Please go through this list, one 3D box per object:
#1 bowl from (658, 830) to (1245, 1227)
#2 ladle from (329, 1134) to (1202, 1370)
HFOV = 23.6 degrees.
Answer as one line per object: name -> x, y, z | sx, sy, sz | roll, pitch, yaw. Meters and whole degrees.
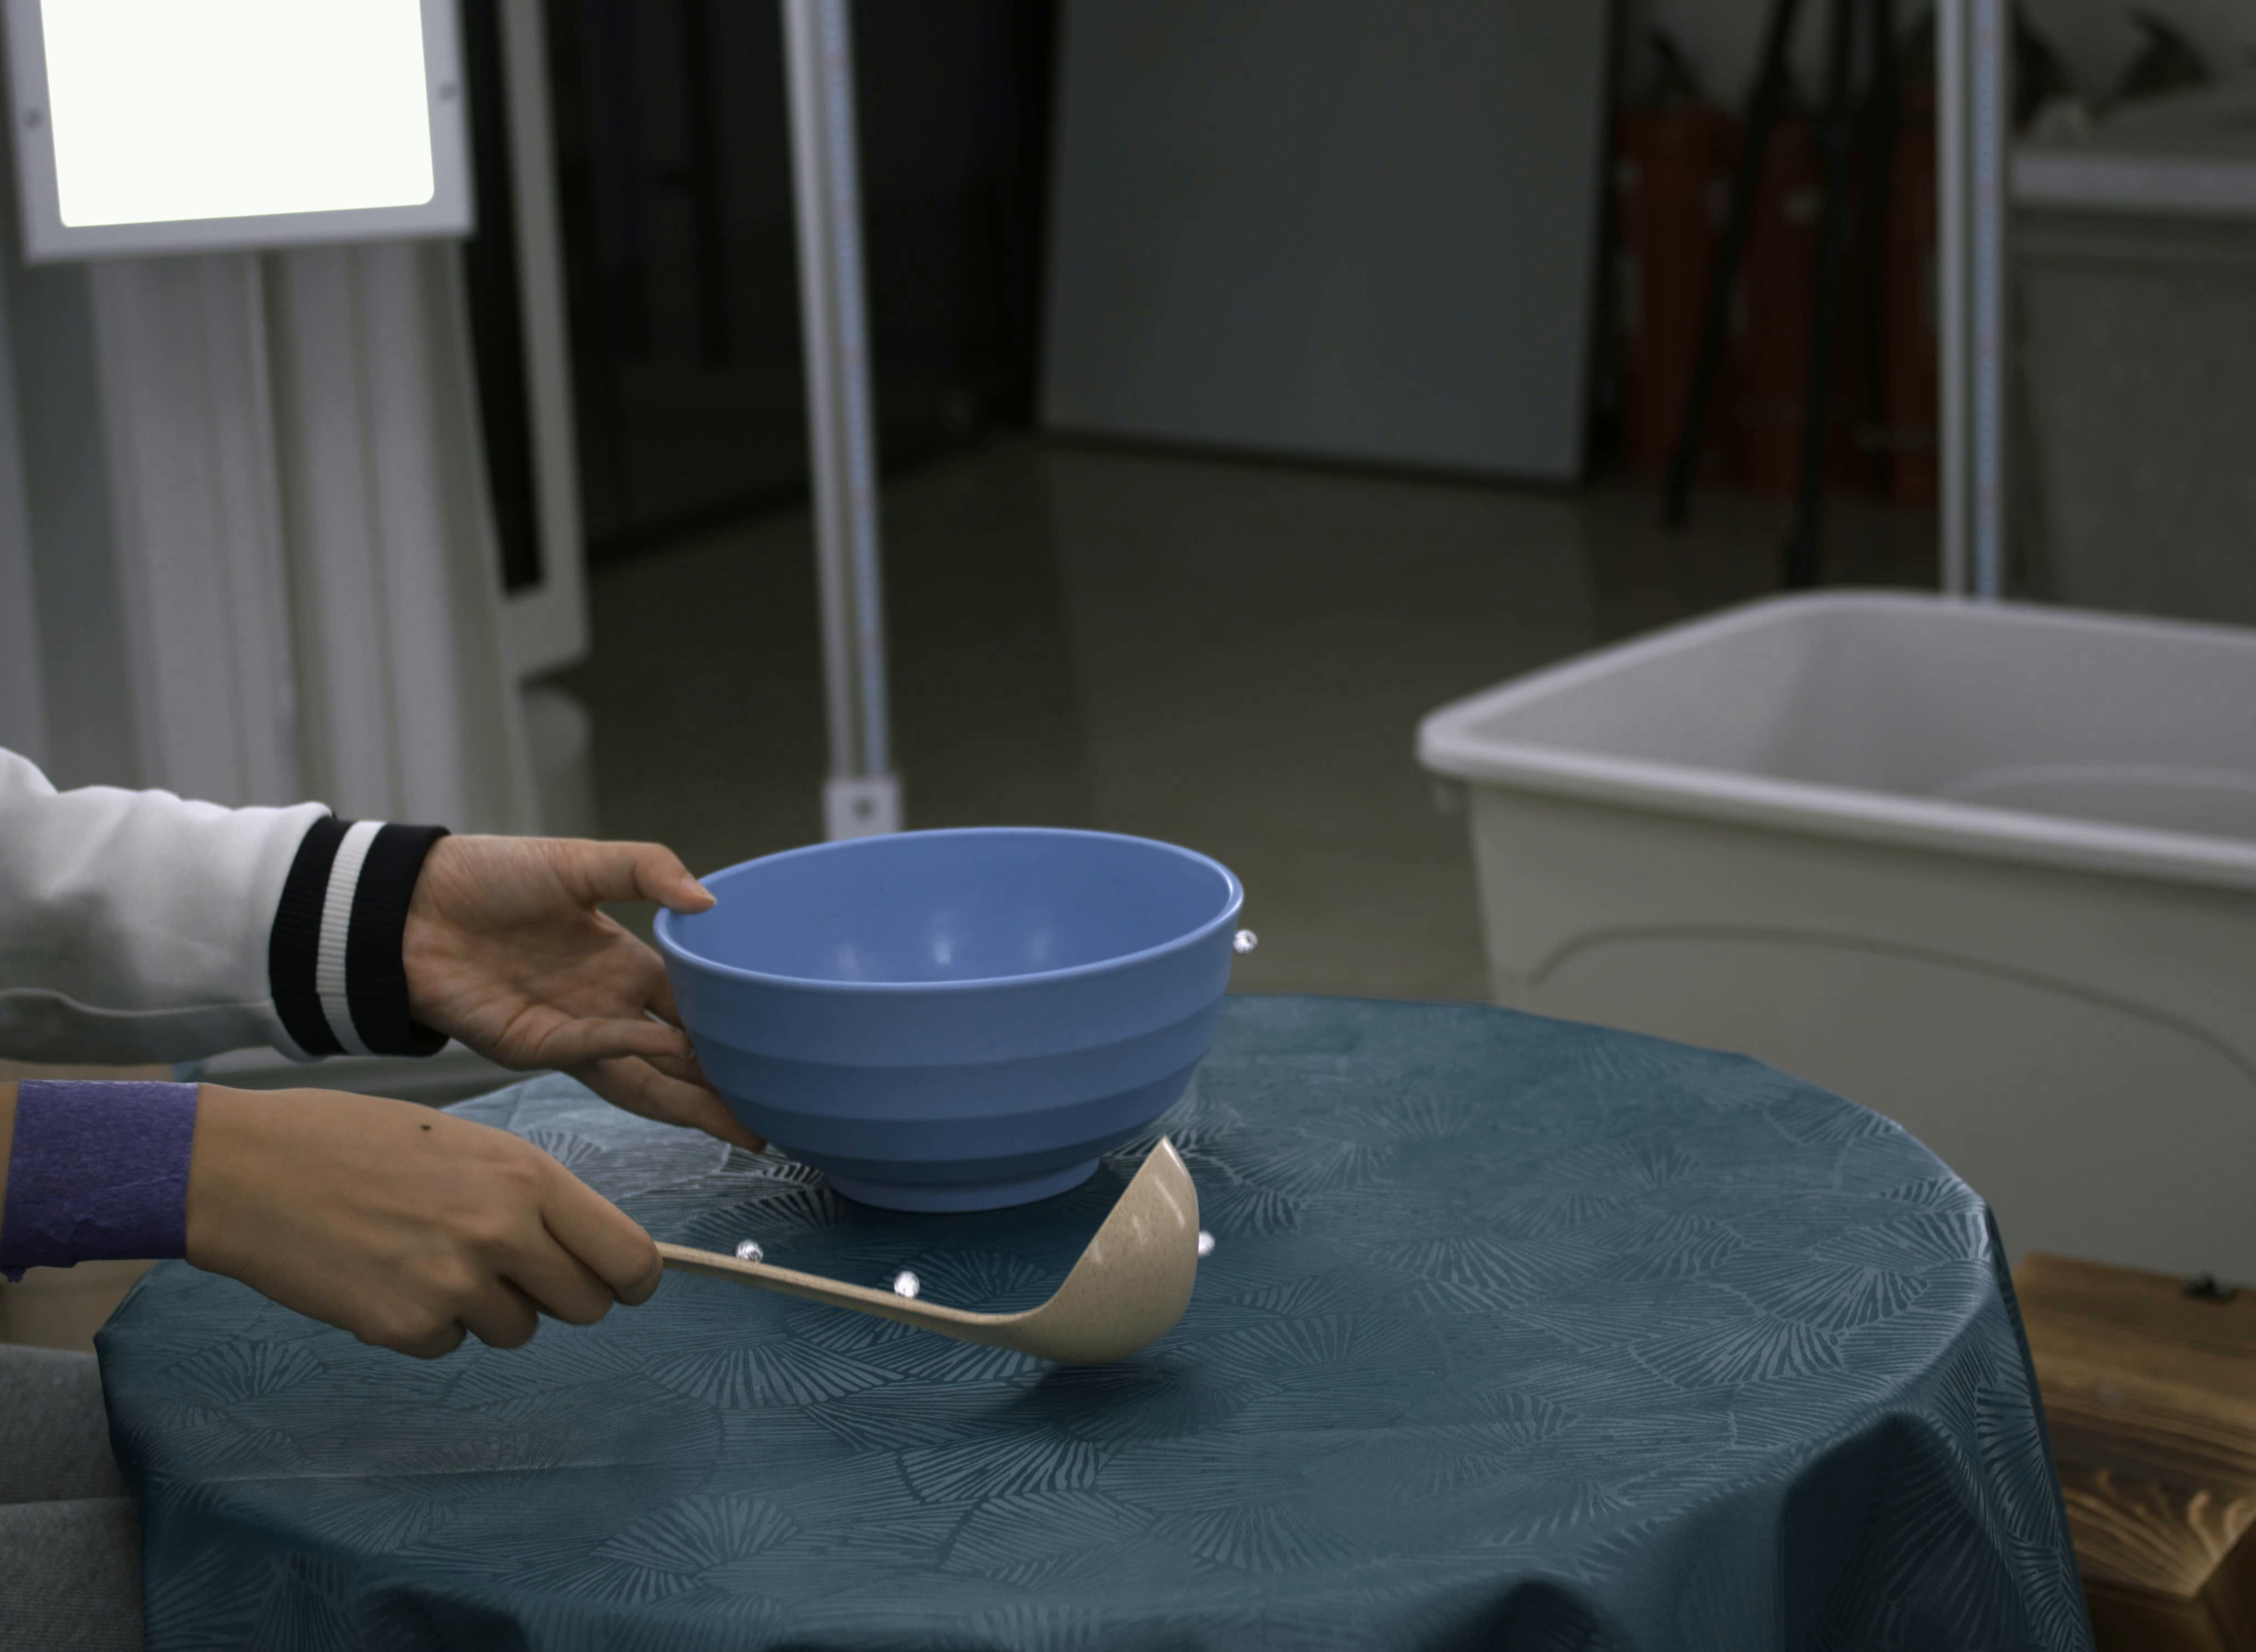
bowl -> -0.056, 0.073, 1.791 | 0.194, 0.096, 0.197 | -4, 15, 0
ladle -> -0.103, 0.107, 1.581 | 0.250, 0.073, 0.072 | 11, -24, -7
